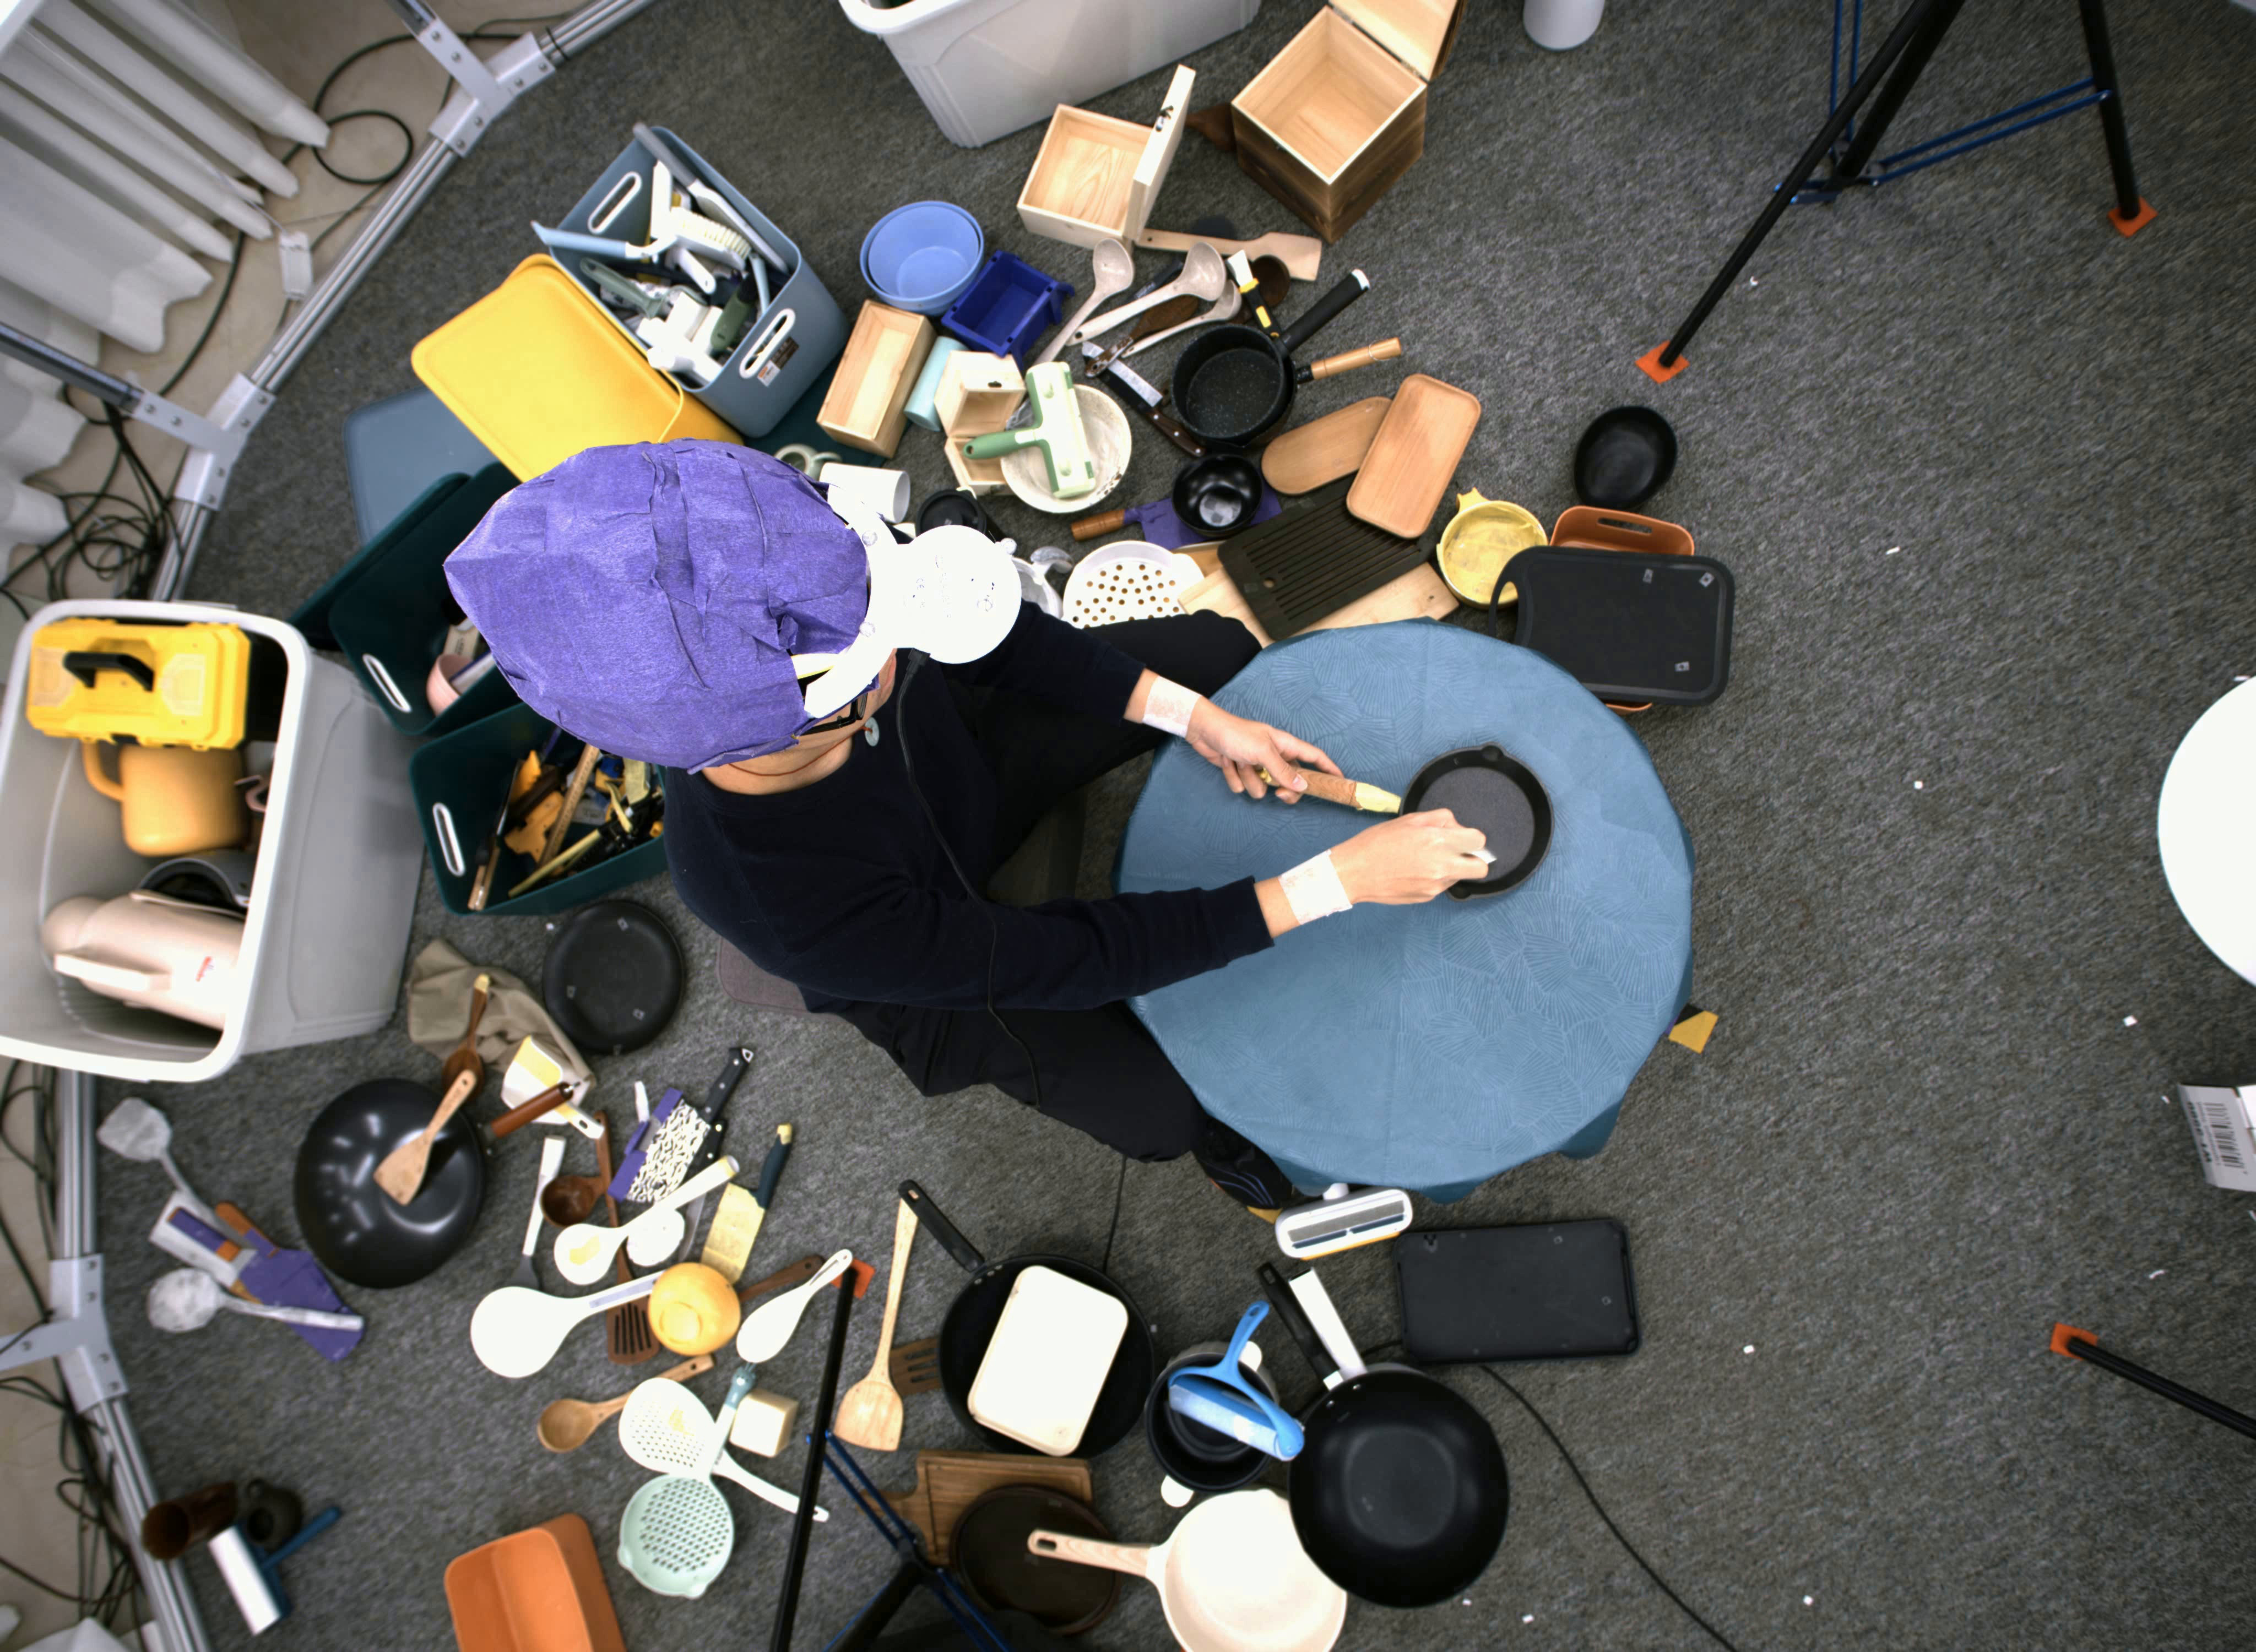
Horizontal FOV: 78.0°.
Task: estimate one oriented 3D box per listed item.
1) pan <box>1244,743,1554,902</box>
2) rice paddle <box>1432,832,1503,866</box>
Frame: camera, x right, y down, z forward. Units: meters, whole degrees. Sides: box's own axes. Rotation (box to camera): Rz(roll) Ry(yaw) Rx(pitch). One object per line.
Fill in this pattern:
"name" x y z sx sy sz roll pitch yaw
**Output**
"pan" 0.279 -0.027 1.438 0.324 0.049 0.168 16 89 11
"rice paddle" 0.324 0.022 1.338 0.069 0.204 0.029 -4 87 20
